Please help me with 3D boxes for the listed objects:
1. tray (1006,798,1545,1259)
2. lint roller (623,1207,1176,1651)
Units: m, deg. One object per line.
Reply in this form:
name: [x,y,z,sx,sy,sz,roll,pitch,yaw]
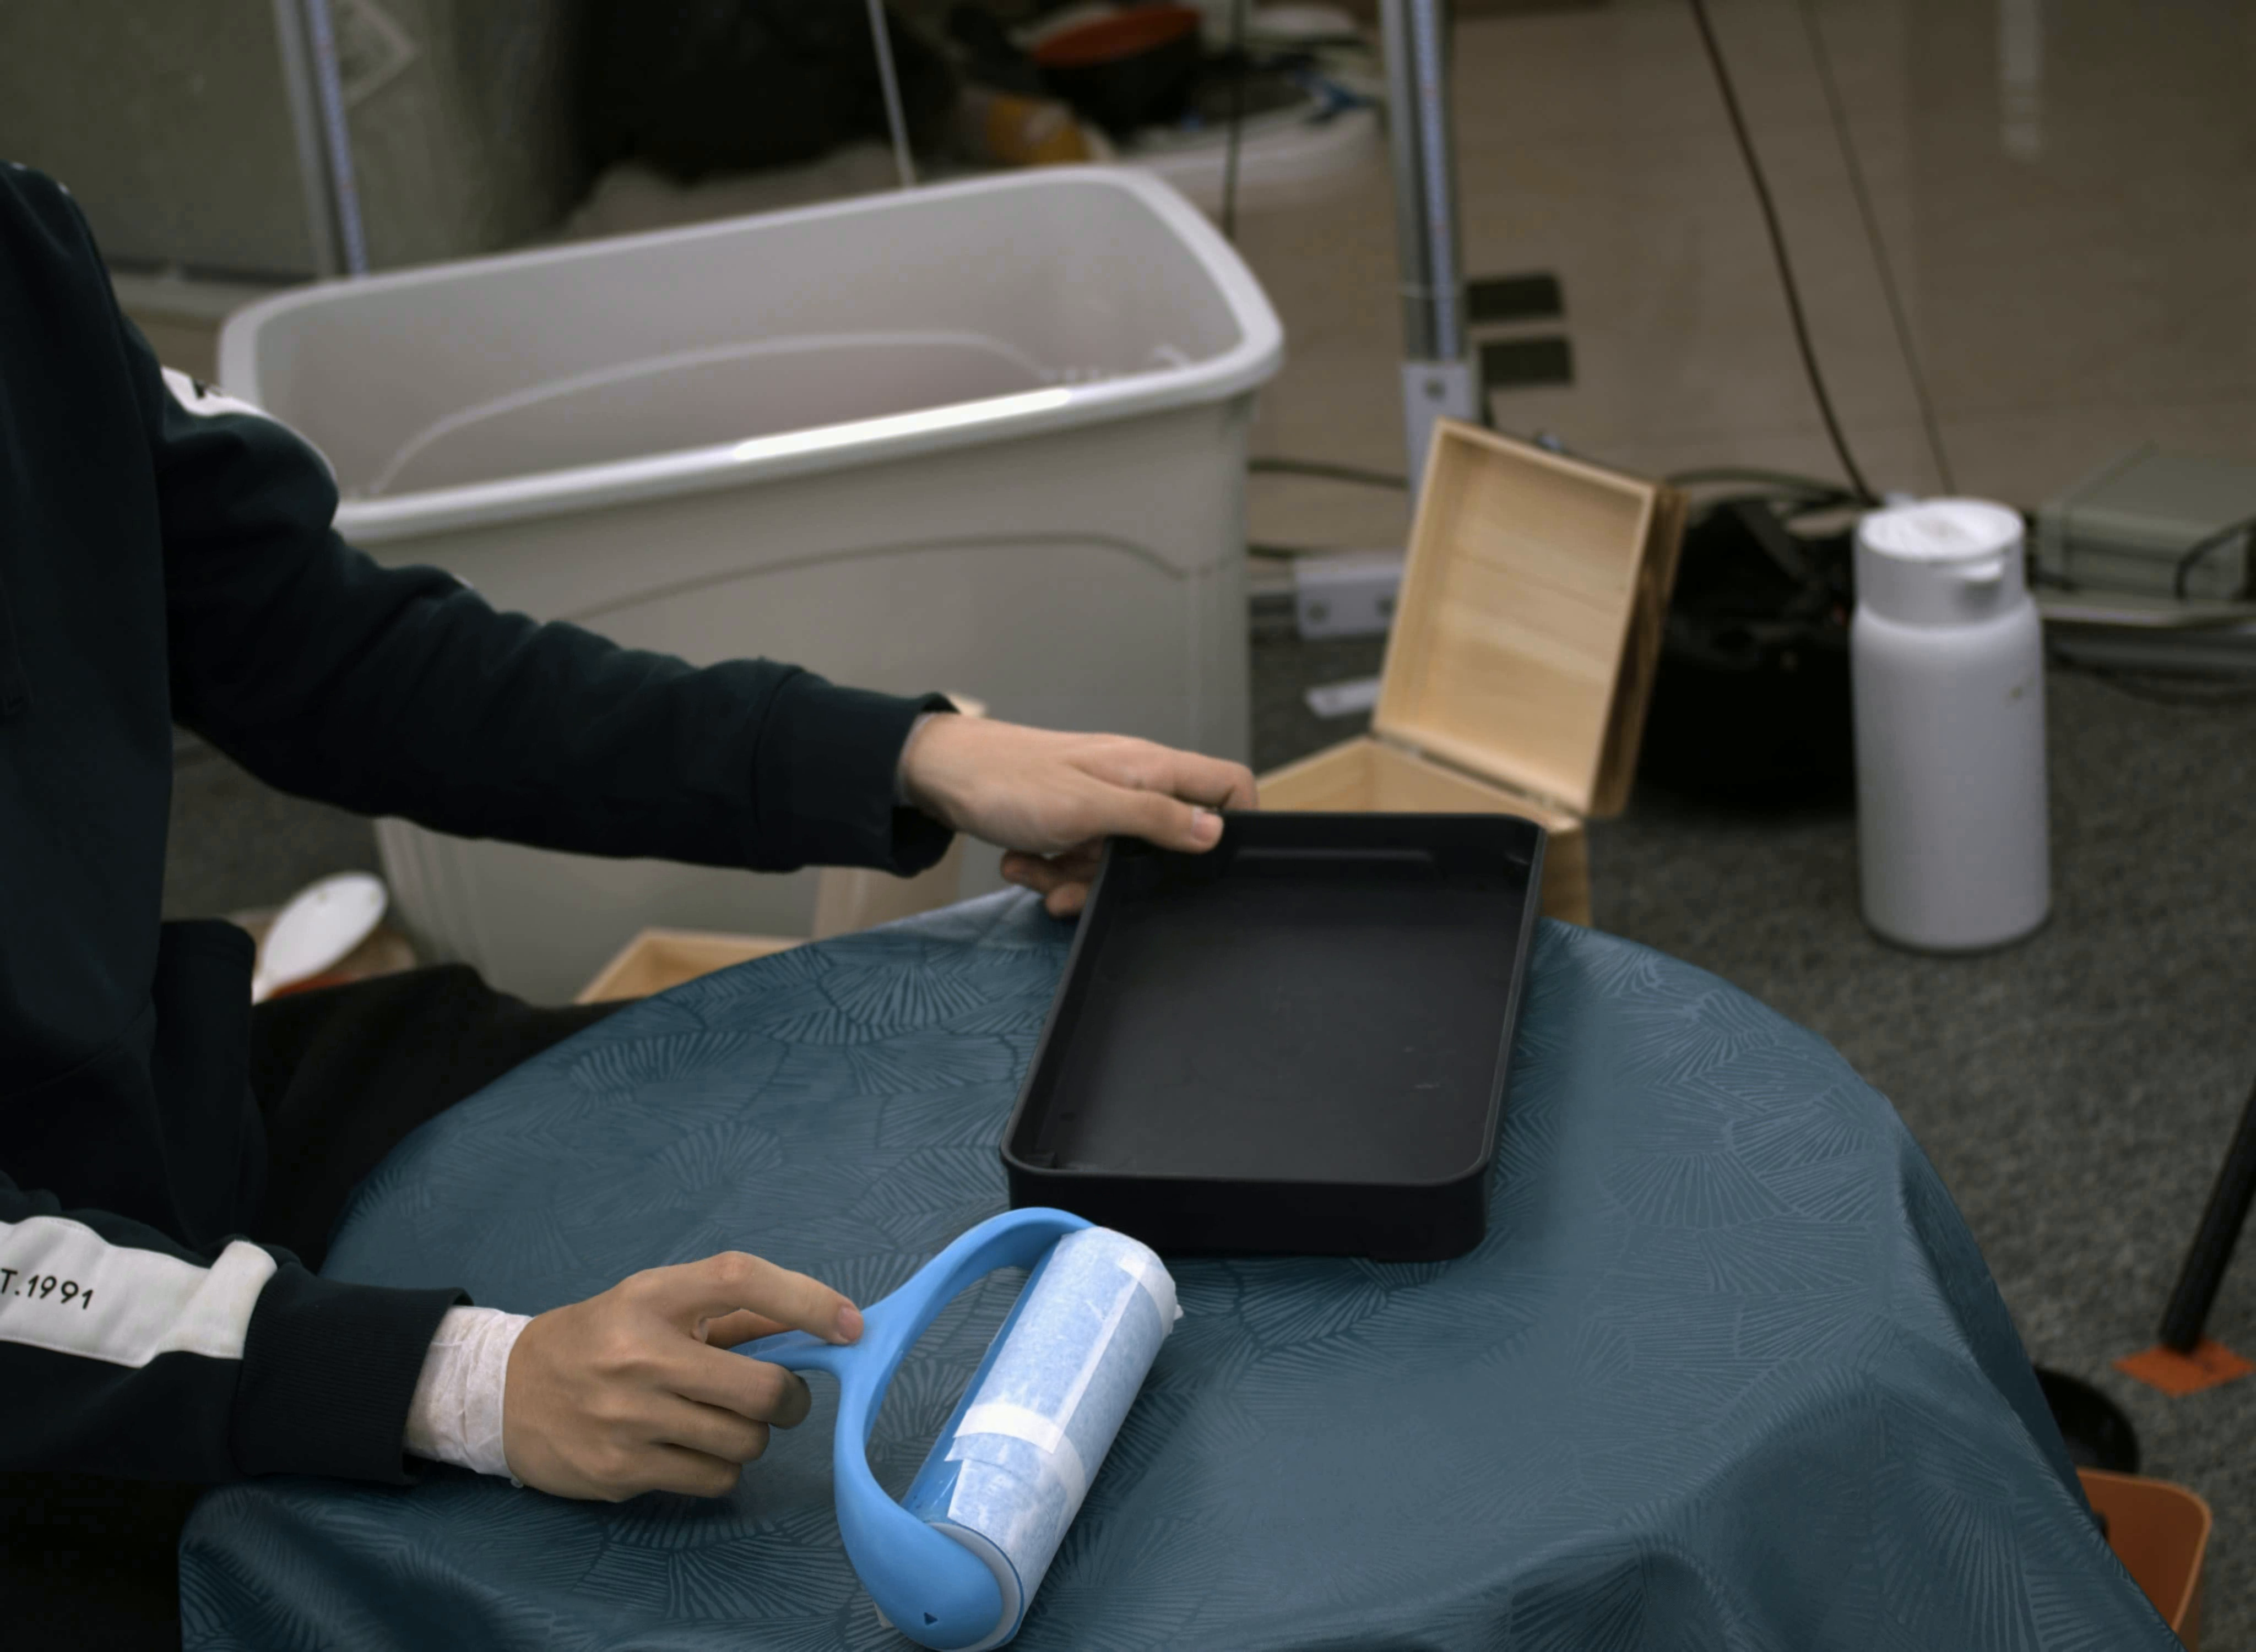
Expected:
tray: [0.064,0.074,2.215,0.184,0.037,0.313,0,27,8]
lint roller: [-0.091,0.202,1.954,0.180,0.069,0.225,4,29,12]
